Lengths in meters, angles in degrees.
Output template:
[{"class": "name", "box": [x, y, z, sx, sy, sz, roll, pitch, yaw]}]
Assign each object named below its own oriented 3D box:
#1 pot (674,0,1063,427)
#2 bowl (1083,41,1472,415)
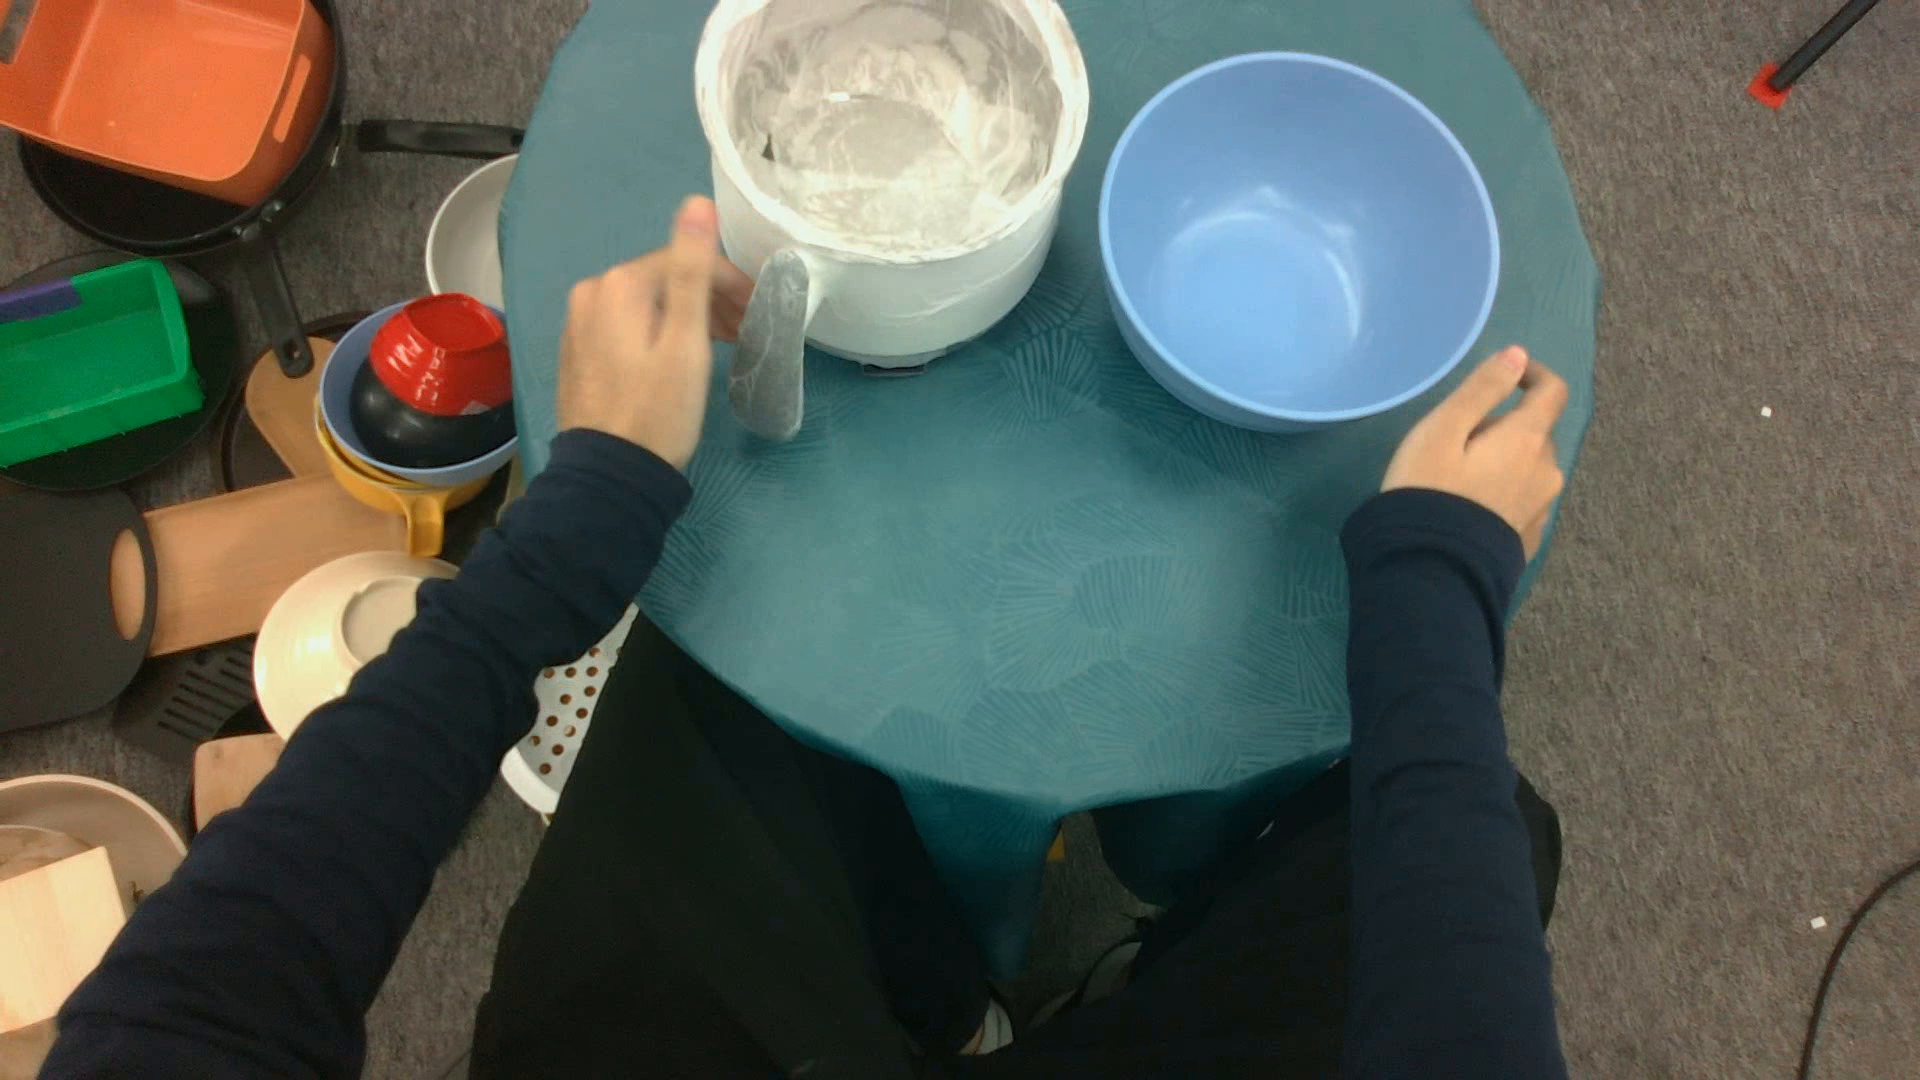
[{"class": "pot", "box": [-0.056, -0.170, 0.676, 0.179, 0.136, 0.234, 24, 72, 4]}, {"class": "bowl", "box": [0.150, -0.145, 0.711, 0.196, 0.095, 0.197, 2, 72, -7]}]
